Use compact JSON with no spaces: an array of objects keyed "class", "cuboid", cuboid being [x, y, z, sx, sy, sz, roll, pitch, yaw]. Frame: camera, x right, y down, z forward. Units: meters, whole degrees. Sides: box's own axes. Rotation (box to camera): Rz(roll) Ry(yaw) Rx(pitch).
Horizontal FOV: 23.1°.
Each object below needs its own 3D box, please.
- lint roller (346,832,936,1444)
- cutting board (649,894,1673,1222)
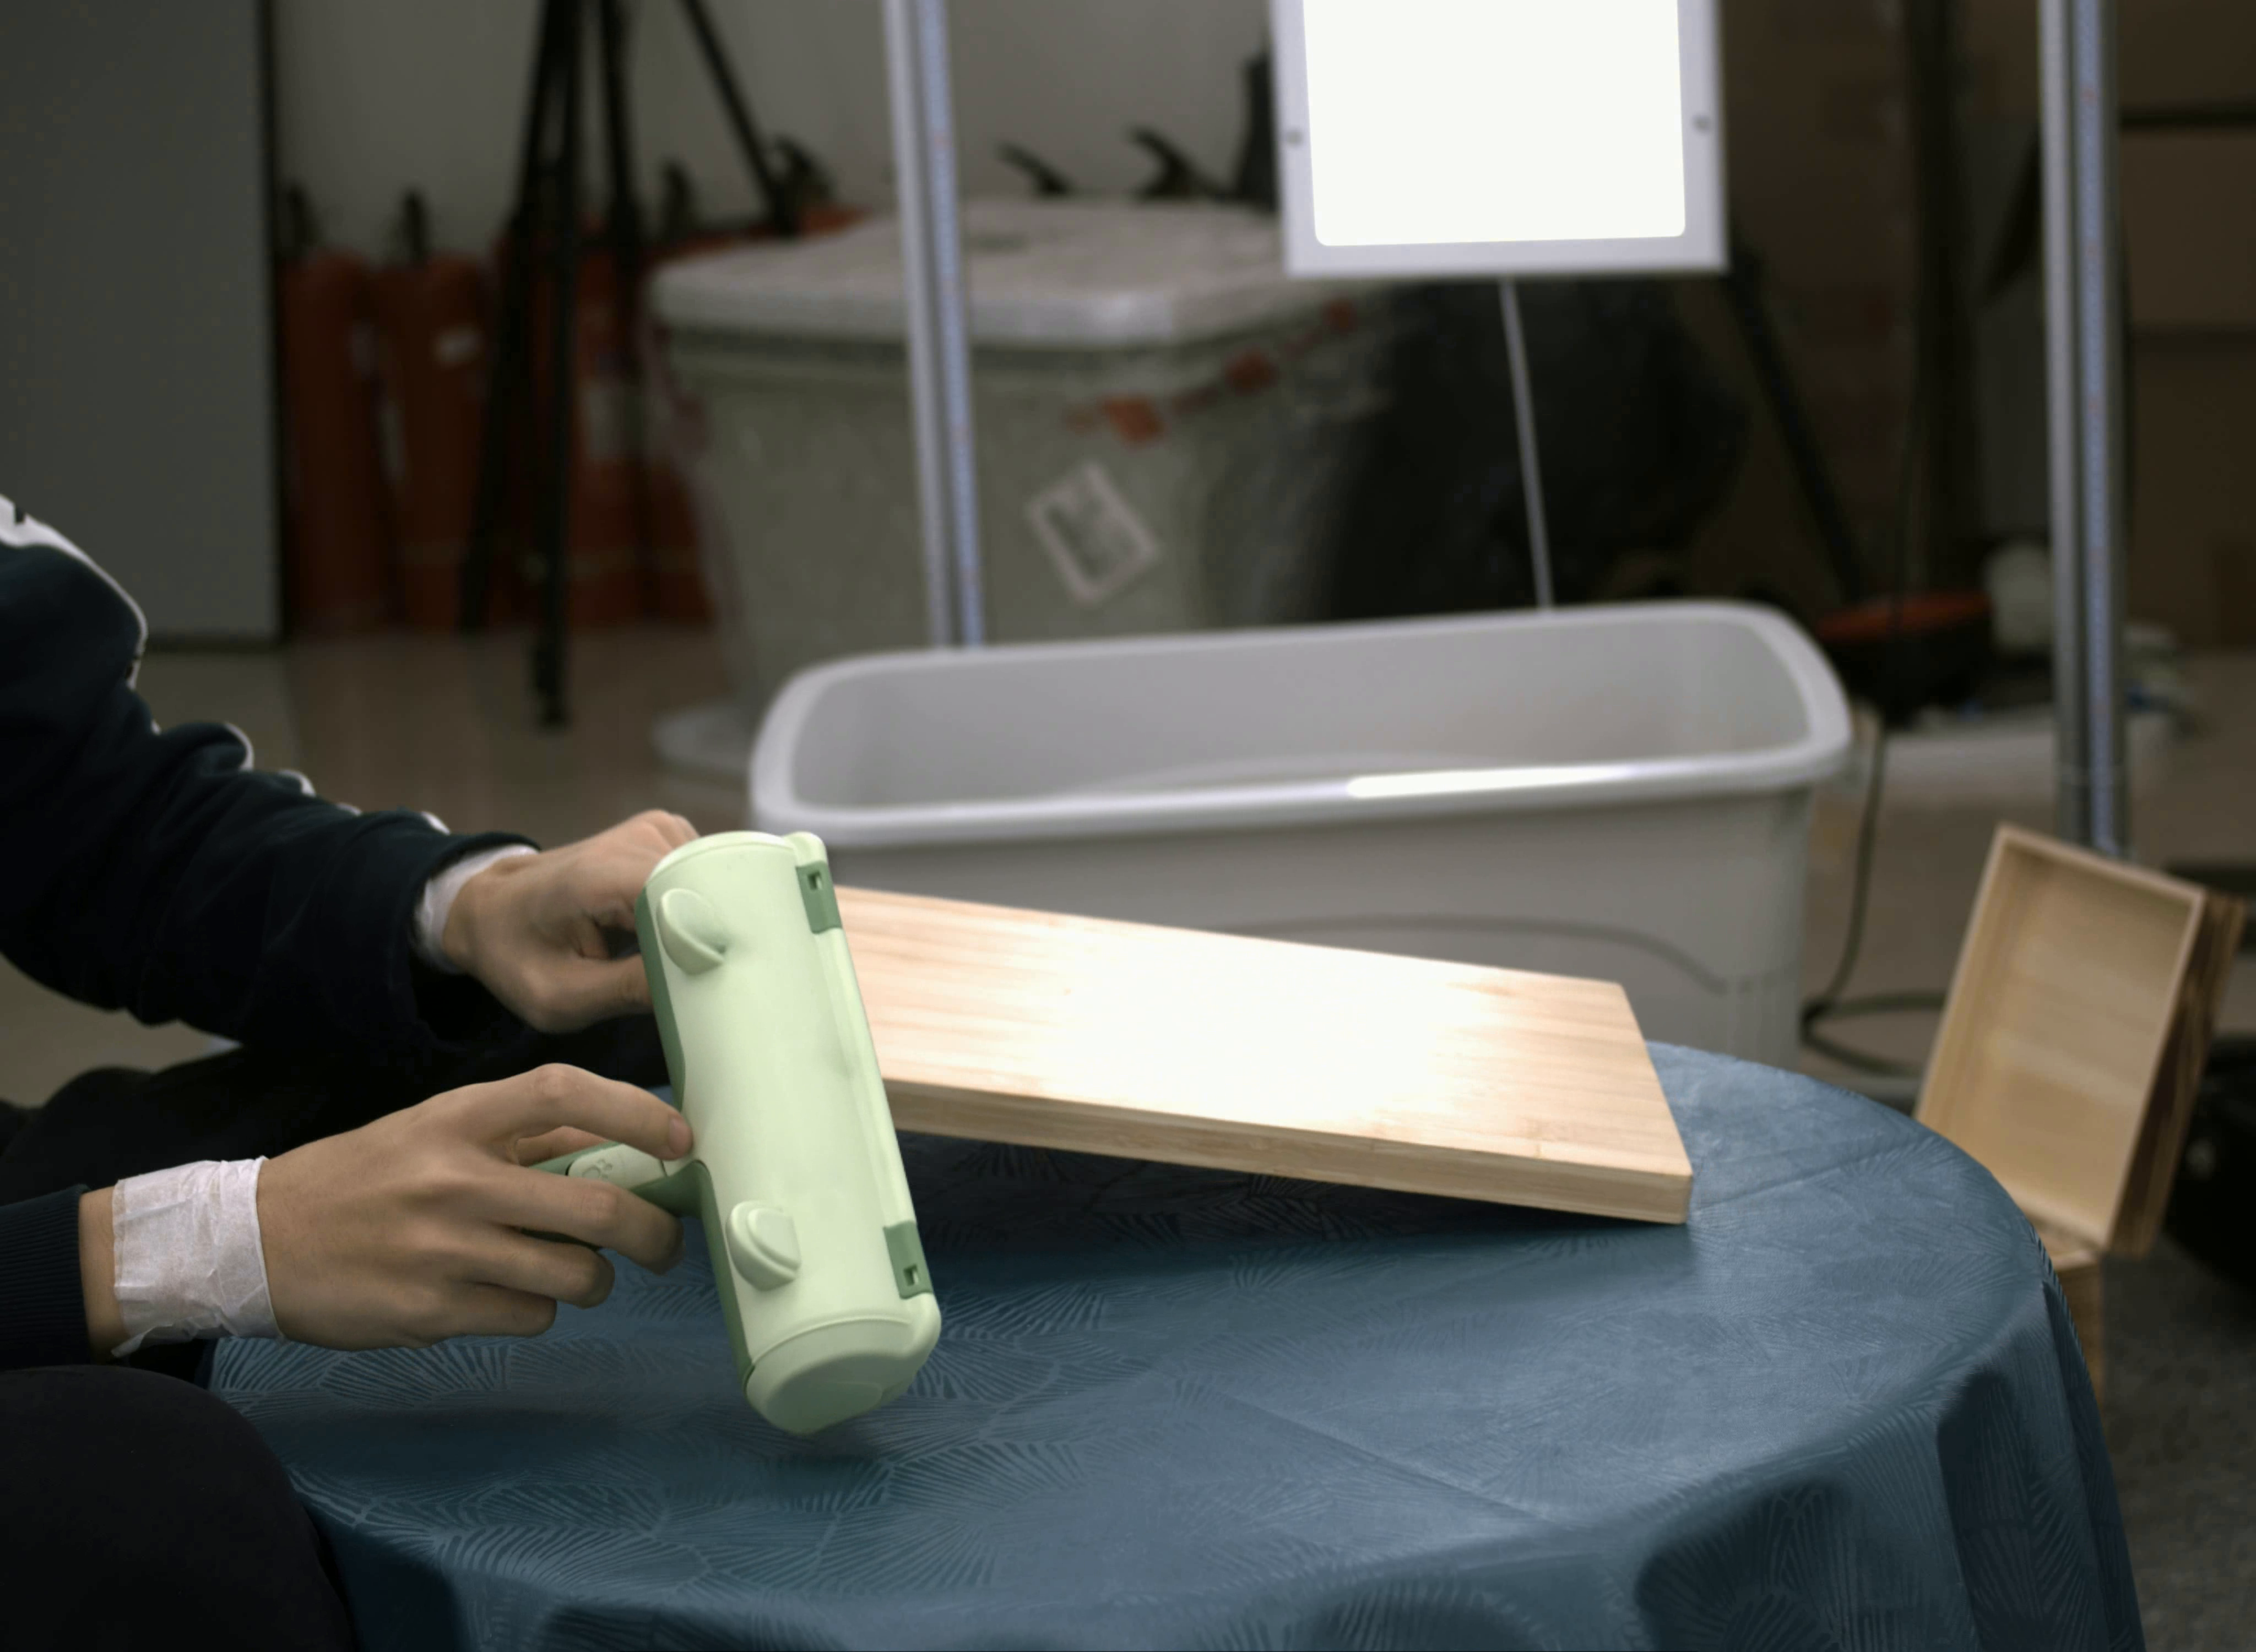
[{"class":"lint roller","cuboid":[-0.163,0.106,1.703,0.183,0.082,0.199,-18,57,4]},{"class":"cutting board","cuboid":[0.012,0.076,1.923,0.347,0.024,0.250,6,13,-1]}]
